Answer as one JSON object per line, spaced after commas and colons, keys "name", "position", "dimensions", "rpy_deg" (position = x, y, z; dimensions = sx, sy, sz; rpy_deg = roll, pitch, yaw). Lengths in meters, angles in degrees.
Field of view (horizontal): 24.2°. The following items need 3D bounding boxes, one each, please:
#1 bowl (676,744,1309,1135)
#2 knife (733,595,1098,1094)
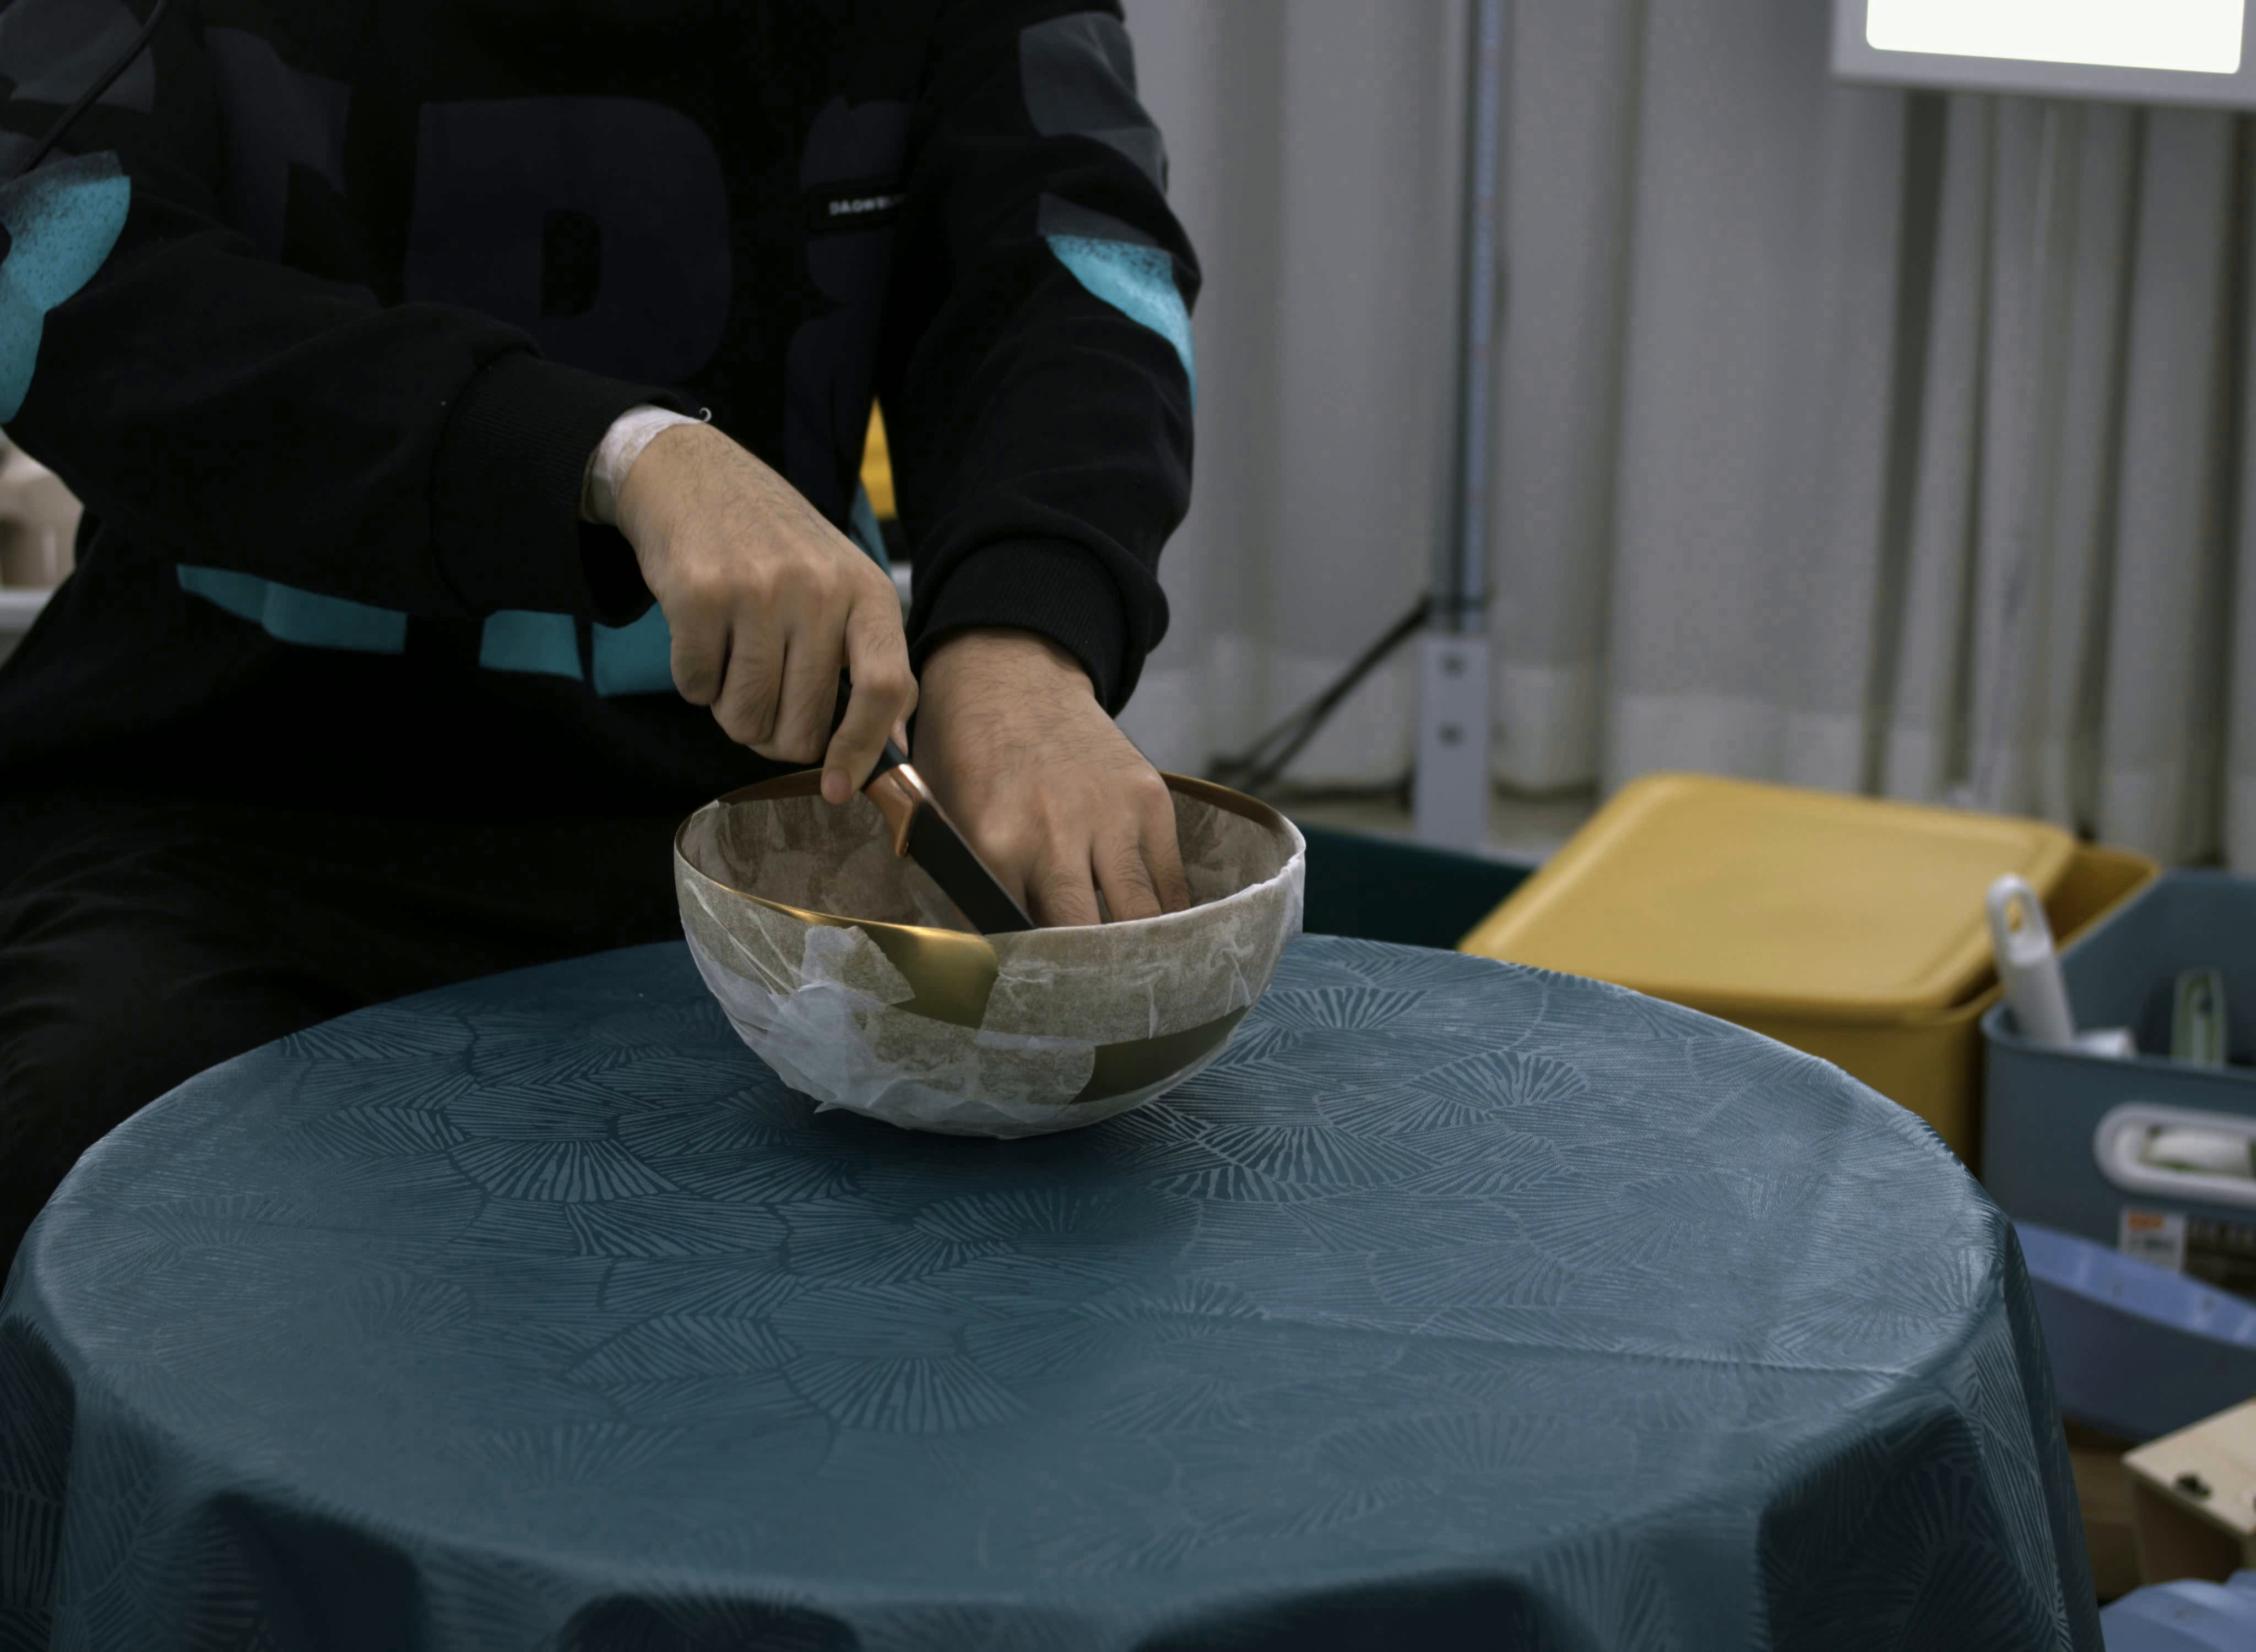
{"name": "bowl", "position": [-0.045, 0.043, 1.689], "dimensions": [0.214, 0.095, 0.213], "rpy_deg": [0, 17, 0]}
{"name": "knife", "position": [-0.067, 0.003, 1.687], "dimensions": [0.017, 0.026, 0.223], "rpy_deg": [-3, 44, -45]}
